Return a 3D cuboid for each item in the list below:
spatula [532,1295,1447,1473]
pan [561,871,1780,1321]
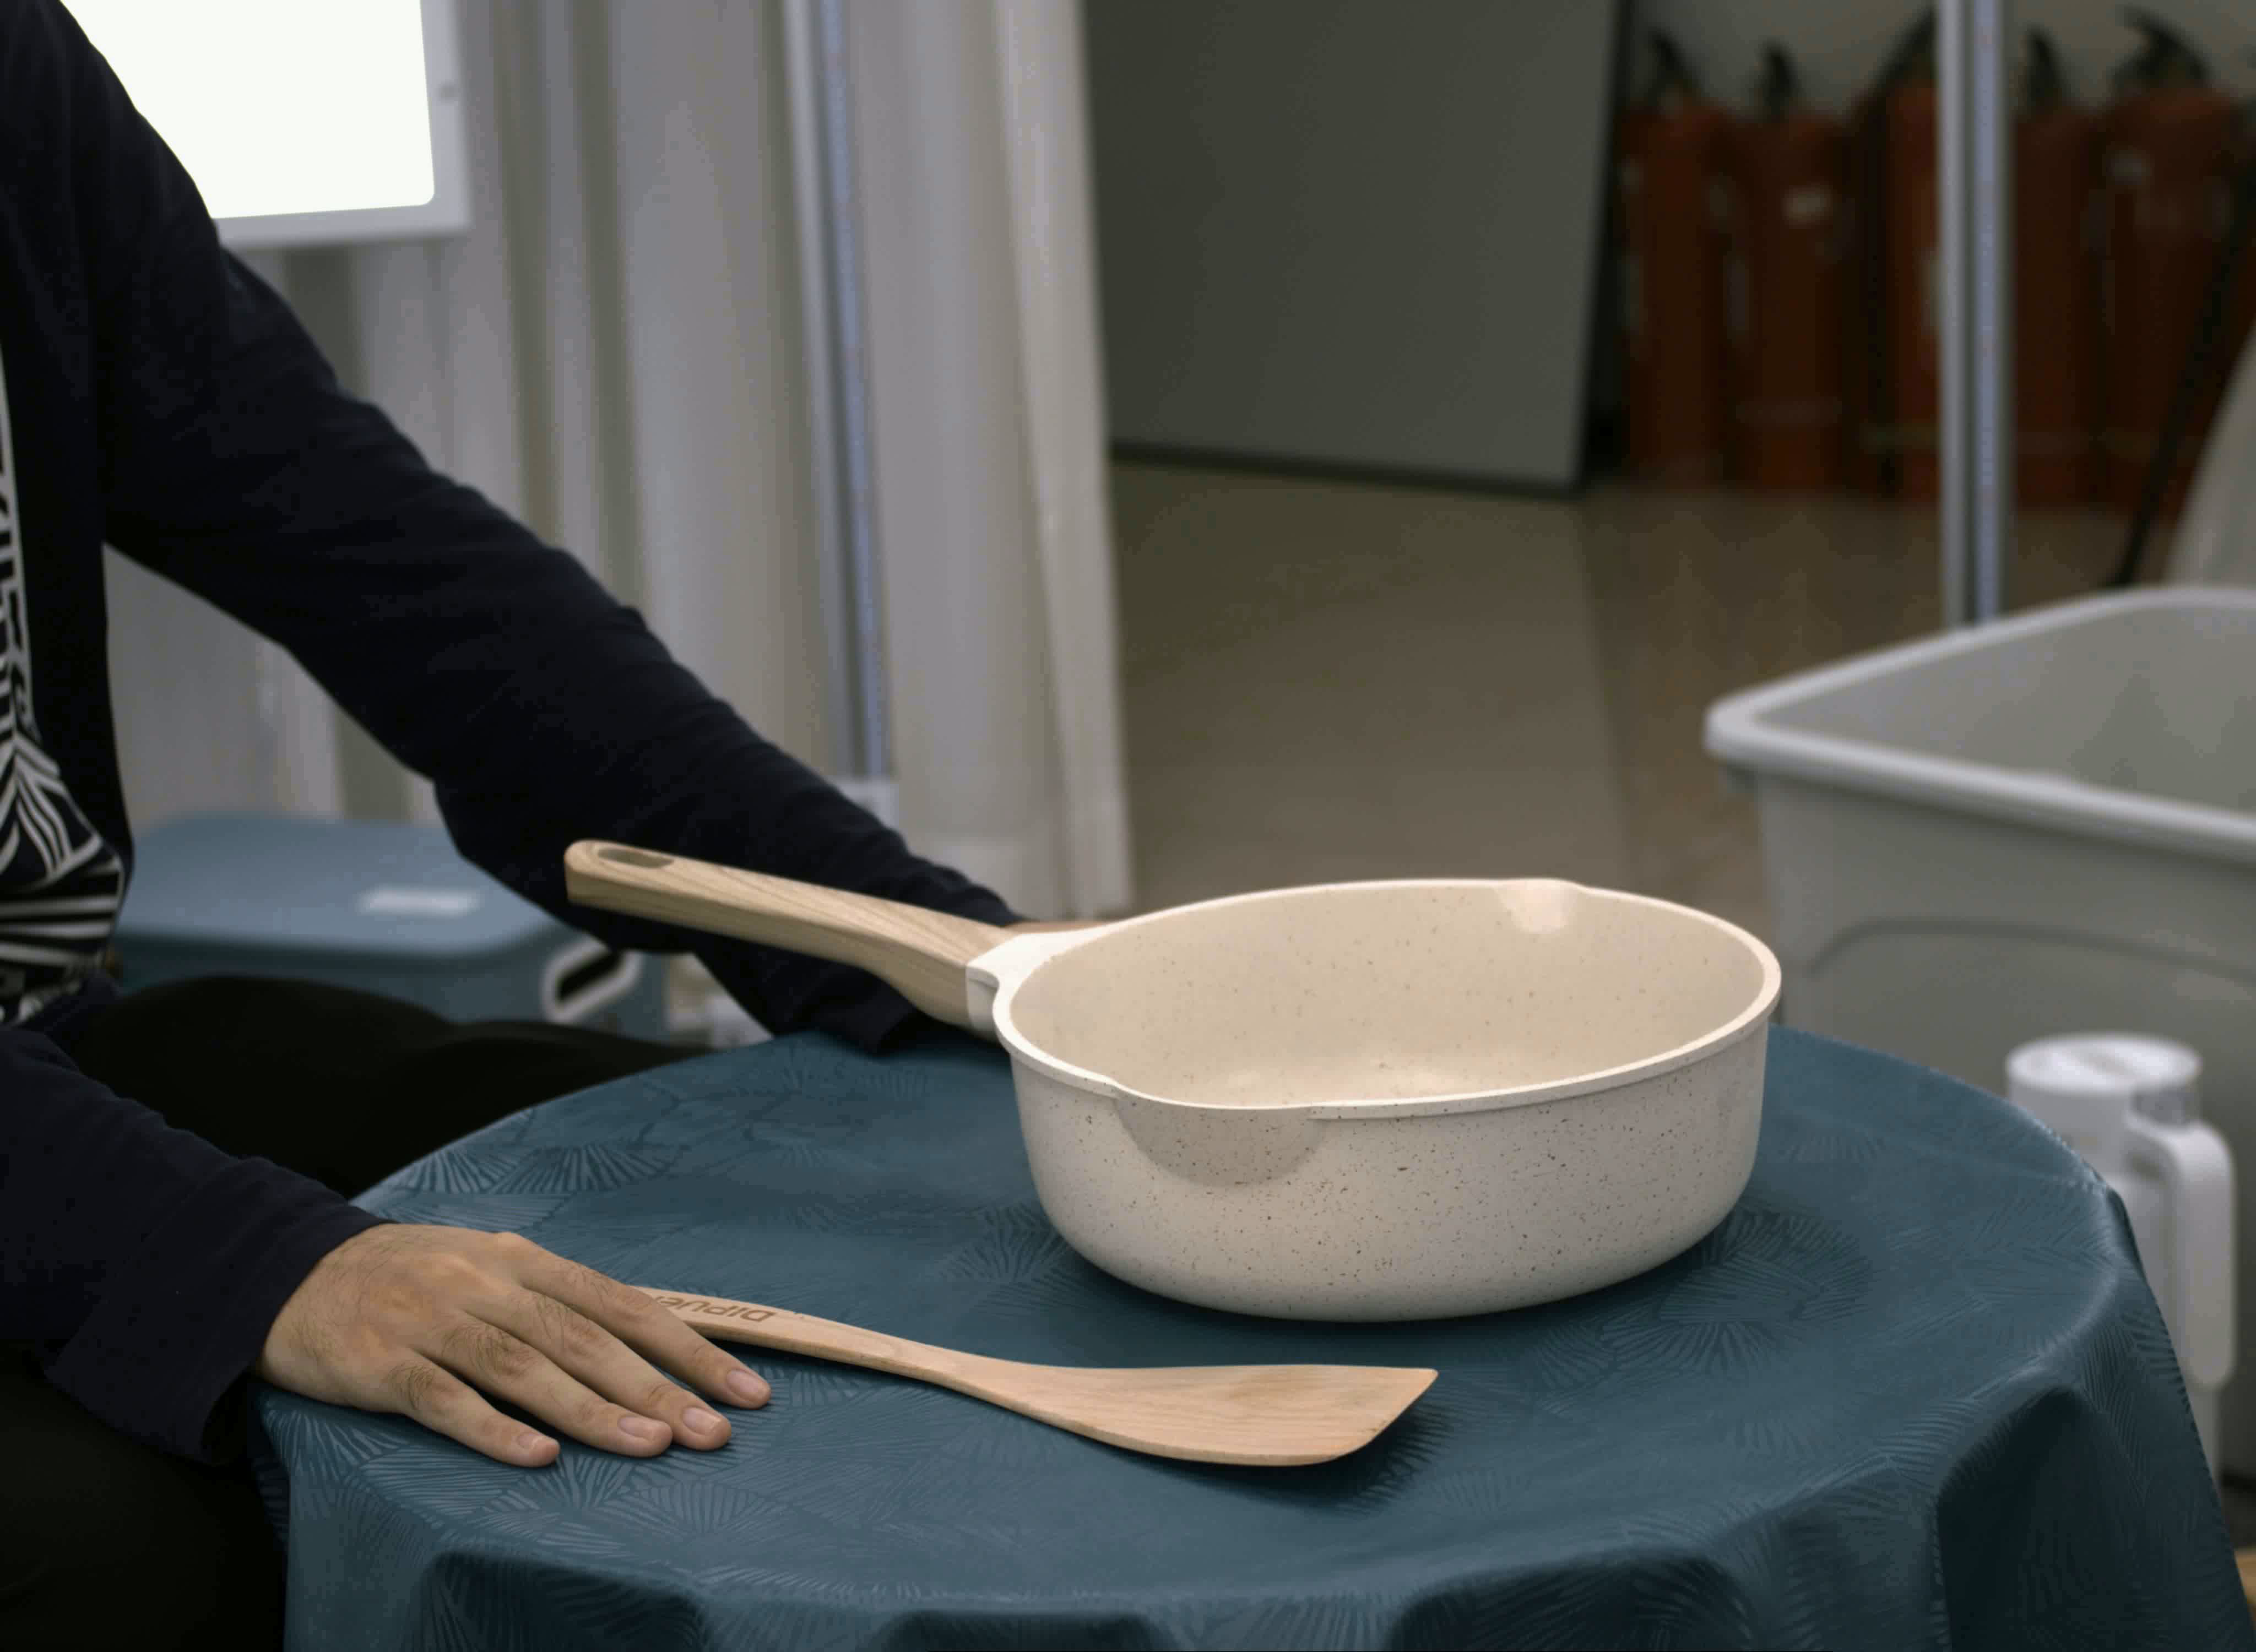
[{"bbox_3d":[-0.050,0.161,1.612,0.329,0.017,0.078,5,17,35],"label":"spatula"},{"bbox_3d":[0.004,0.076,1.762,0.436,0.103,0.260,3,16,29],"label":"pan"}]
